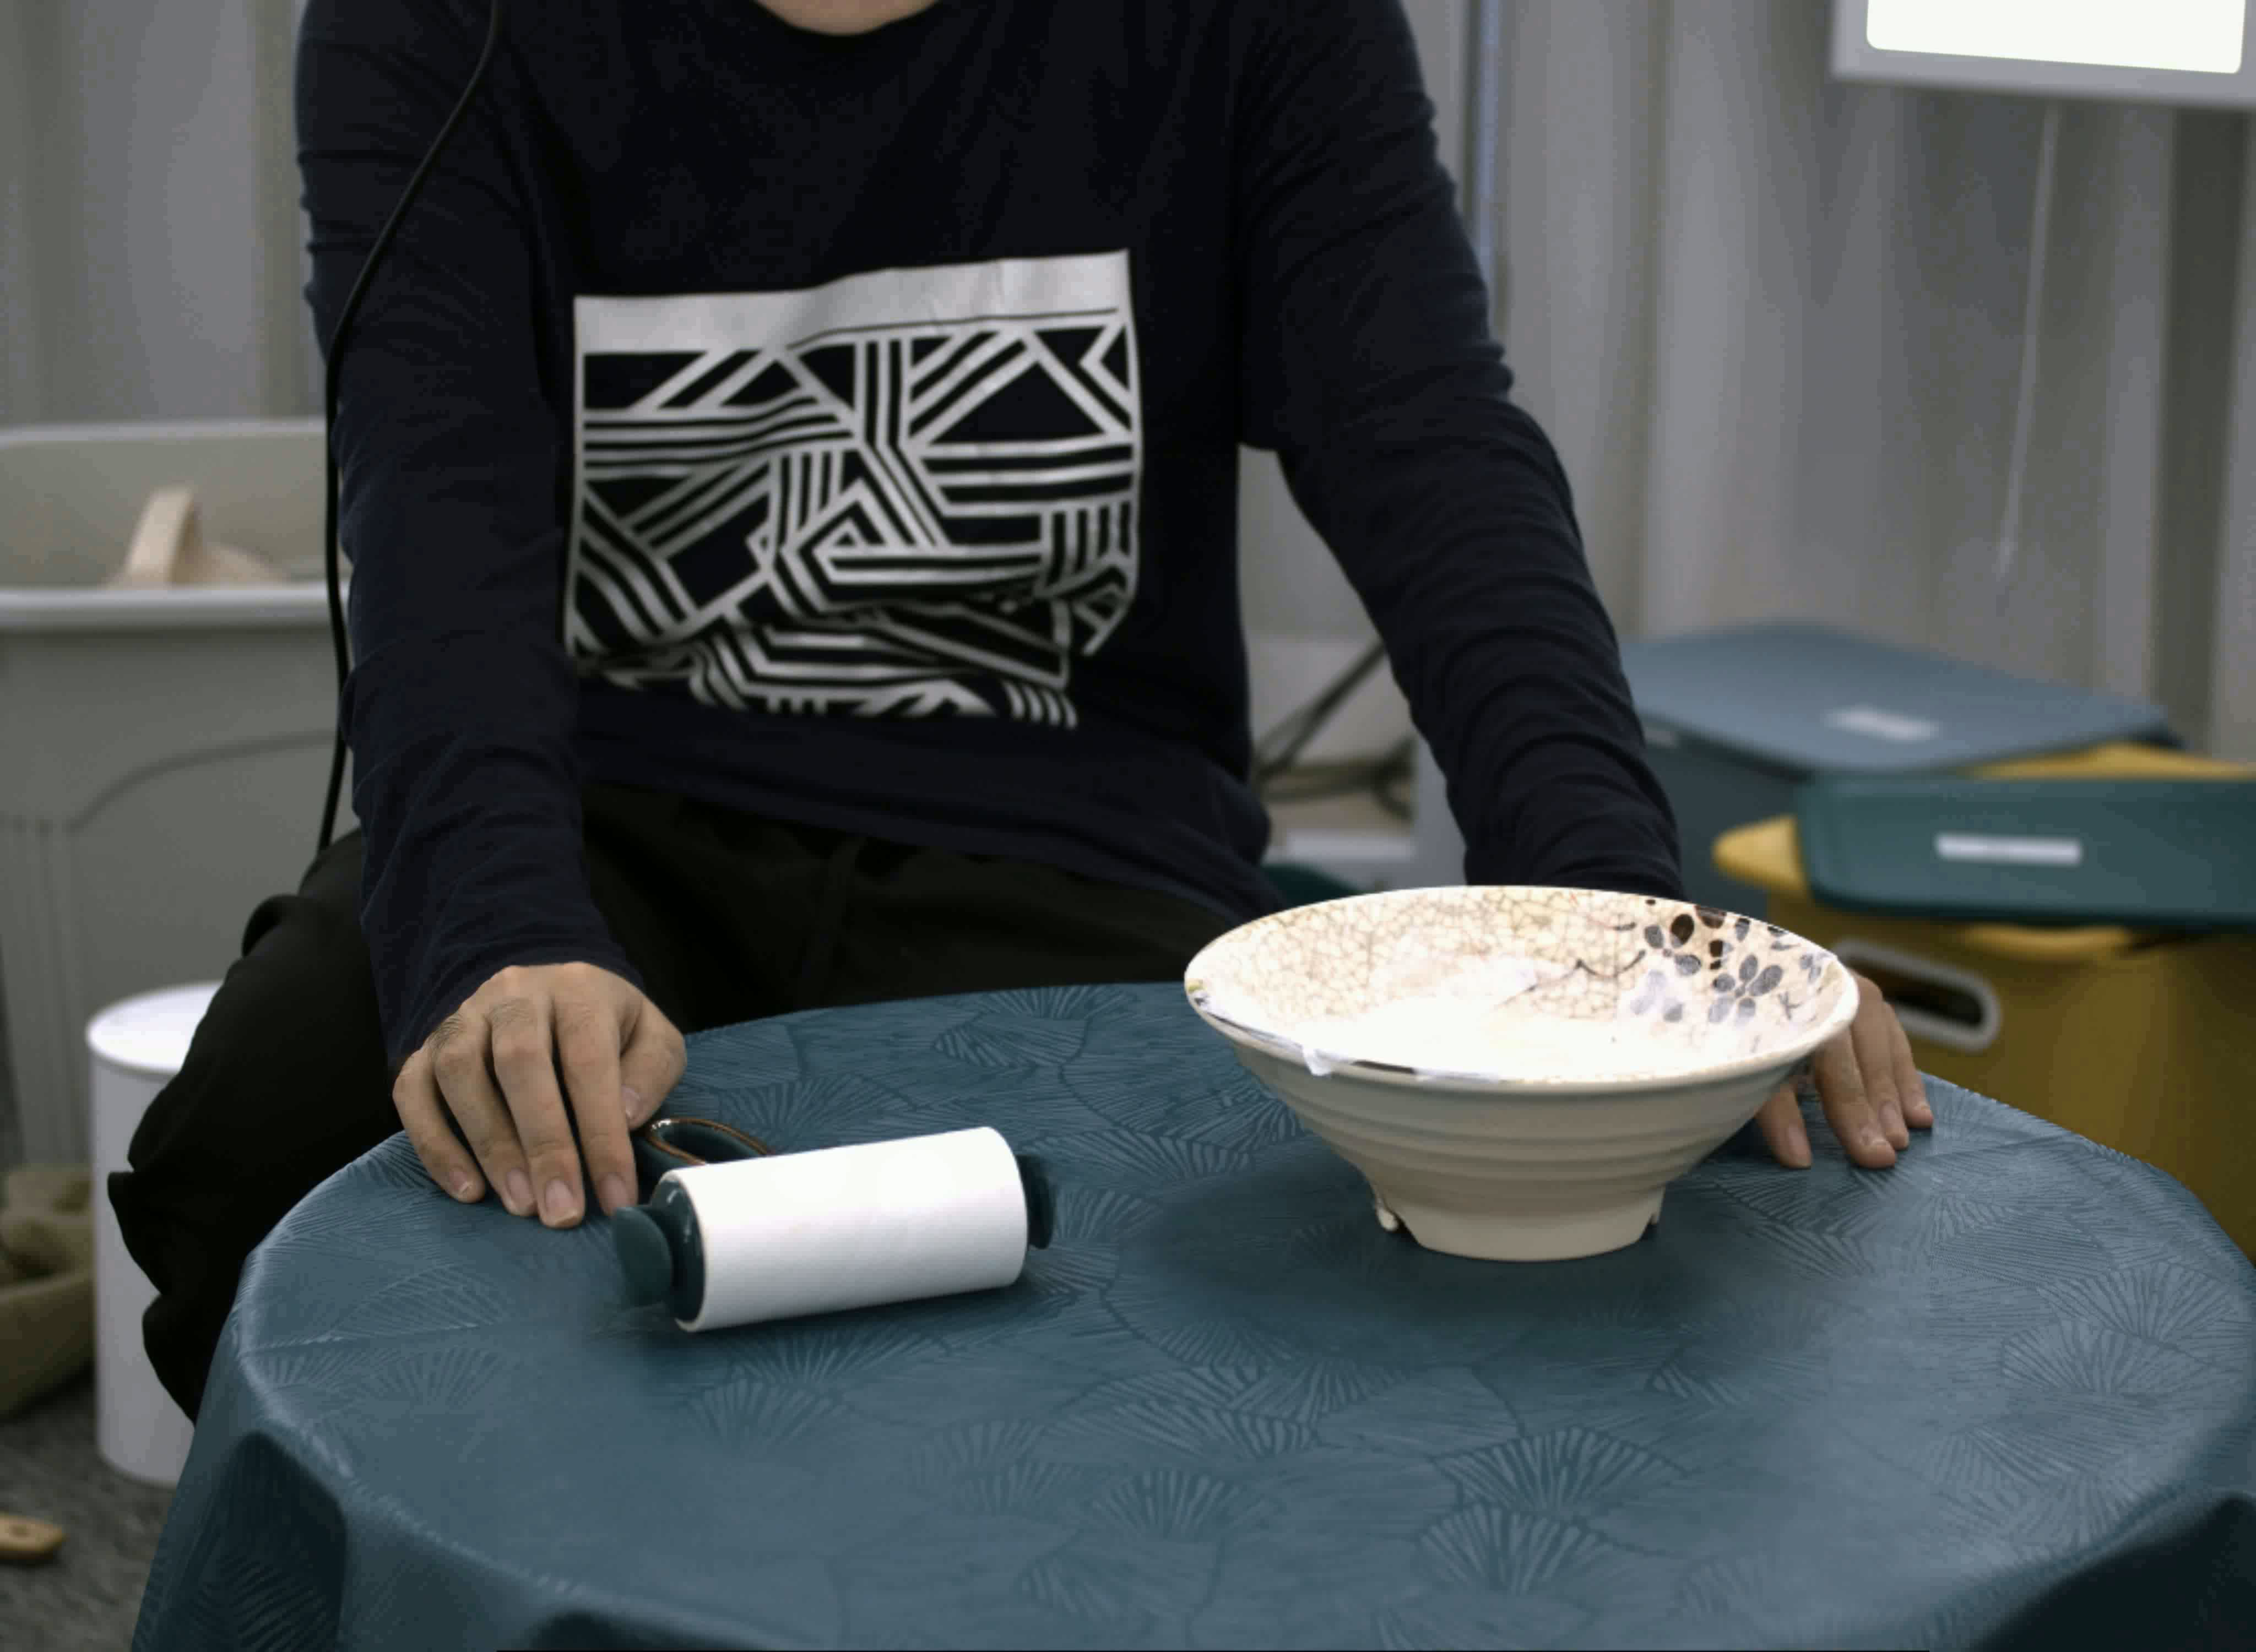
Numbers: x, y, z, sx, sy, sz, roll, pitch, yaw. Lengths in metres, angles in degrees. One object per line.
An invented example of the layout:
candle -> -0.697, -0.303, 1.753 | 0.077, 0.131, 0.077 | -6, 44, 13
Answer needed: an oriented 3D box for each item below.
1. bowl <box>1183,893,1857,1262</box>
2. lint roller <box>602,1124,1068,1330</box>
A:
bowl -> 0.117, 0.082, 1.595 | 0.203, 0.078, 0.203 | 1, 14, 0
lint roller -> -0.112, 0.105, 1.578 | 0.135, 0.048, 0.178 | -7, 12, -24
